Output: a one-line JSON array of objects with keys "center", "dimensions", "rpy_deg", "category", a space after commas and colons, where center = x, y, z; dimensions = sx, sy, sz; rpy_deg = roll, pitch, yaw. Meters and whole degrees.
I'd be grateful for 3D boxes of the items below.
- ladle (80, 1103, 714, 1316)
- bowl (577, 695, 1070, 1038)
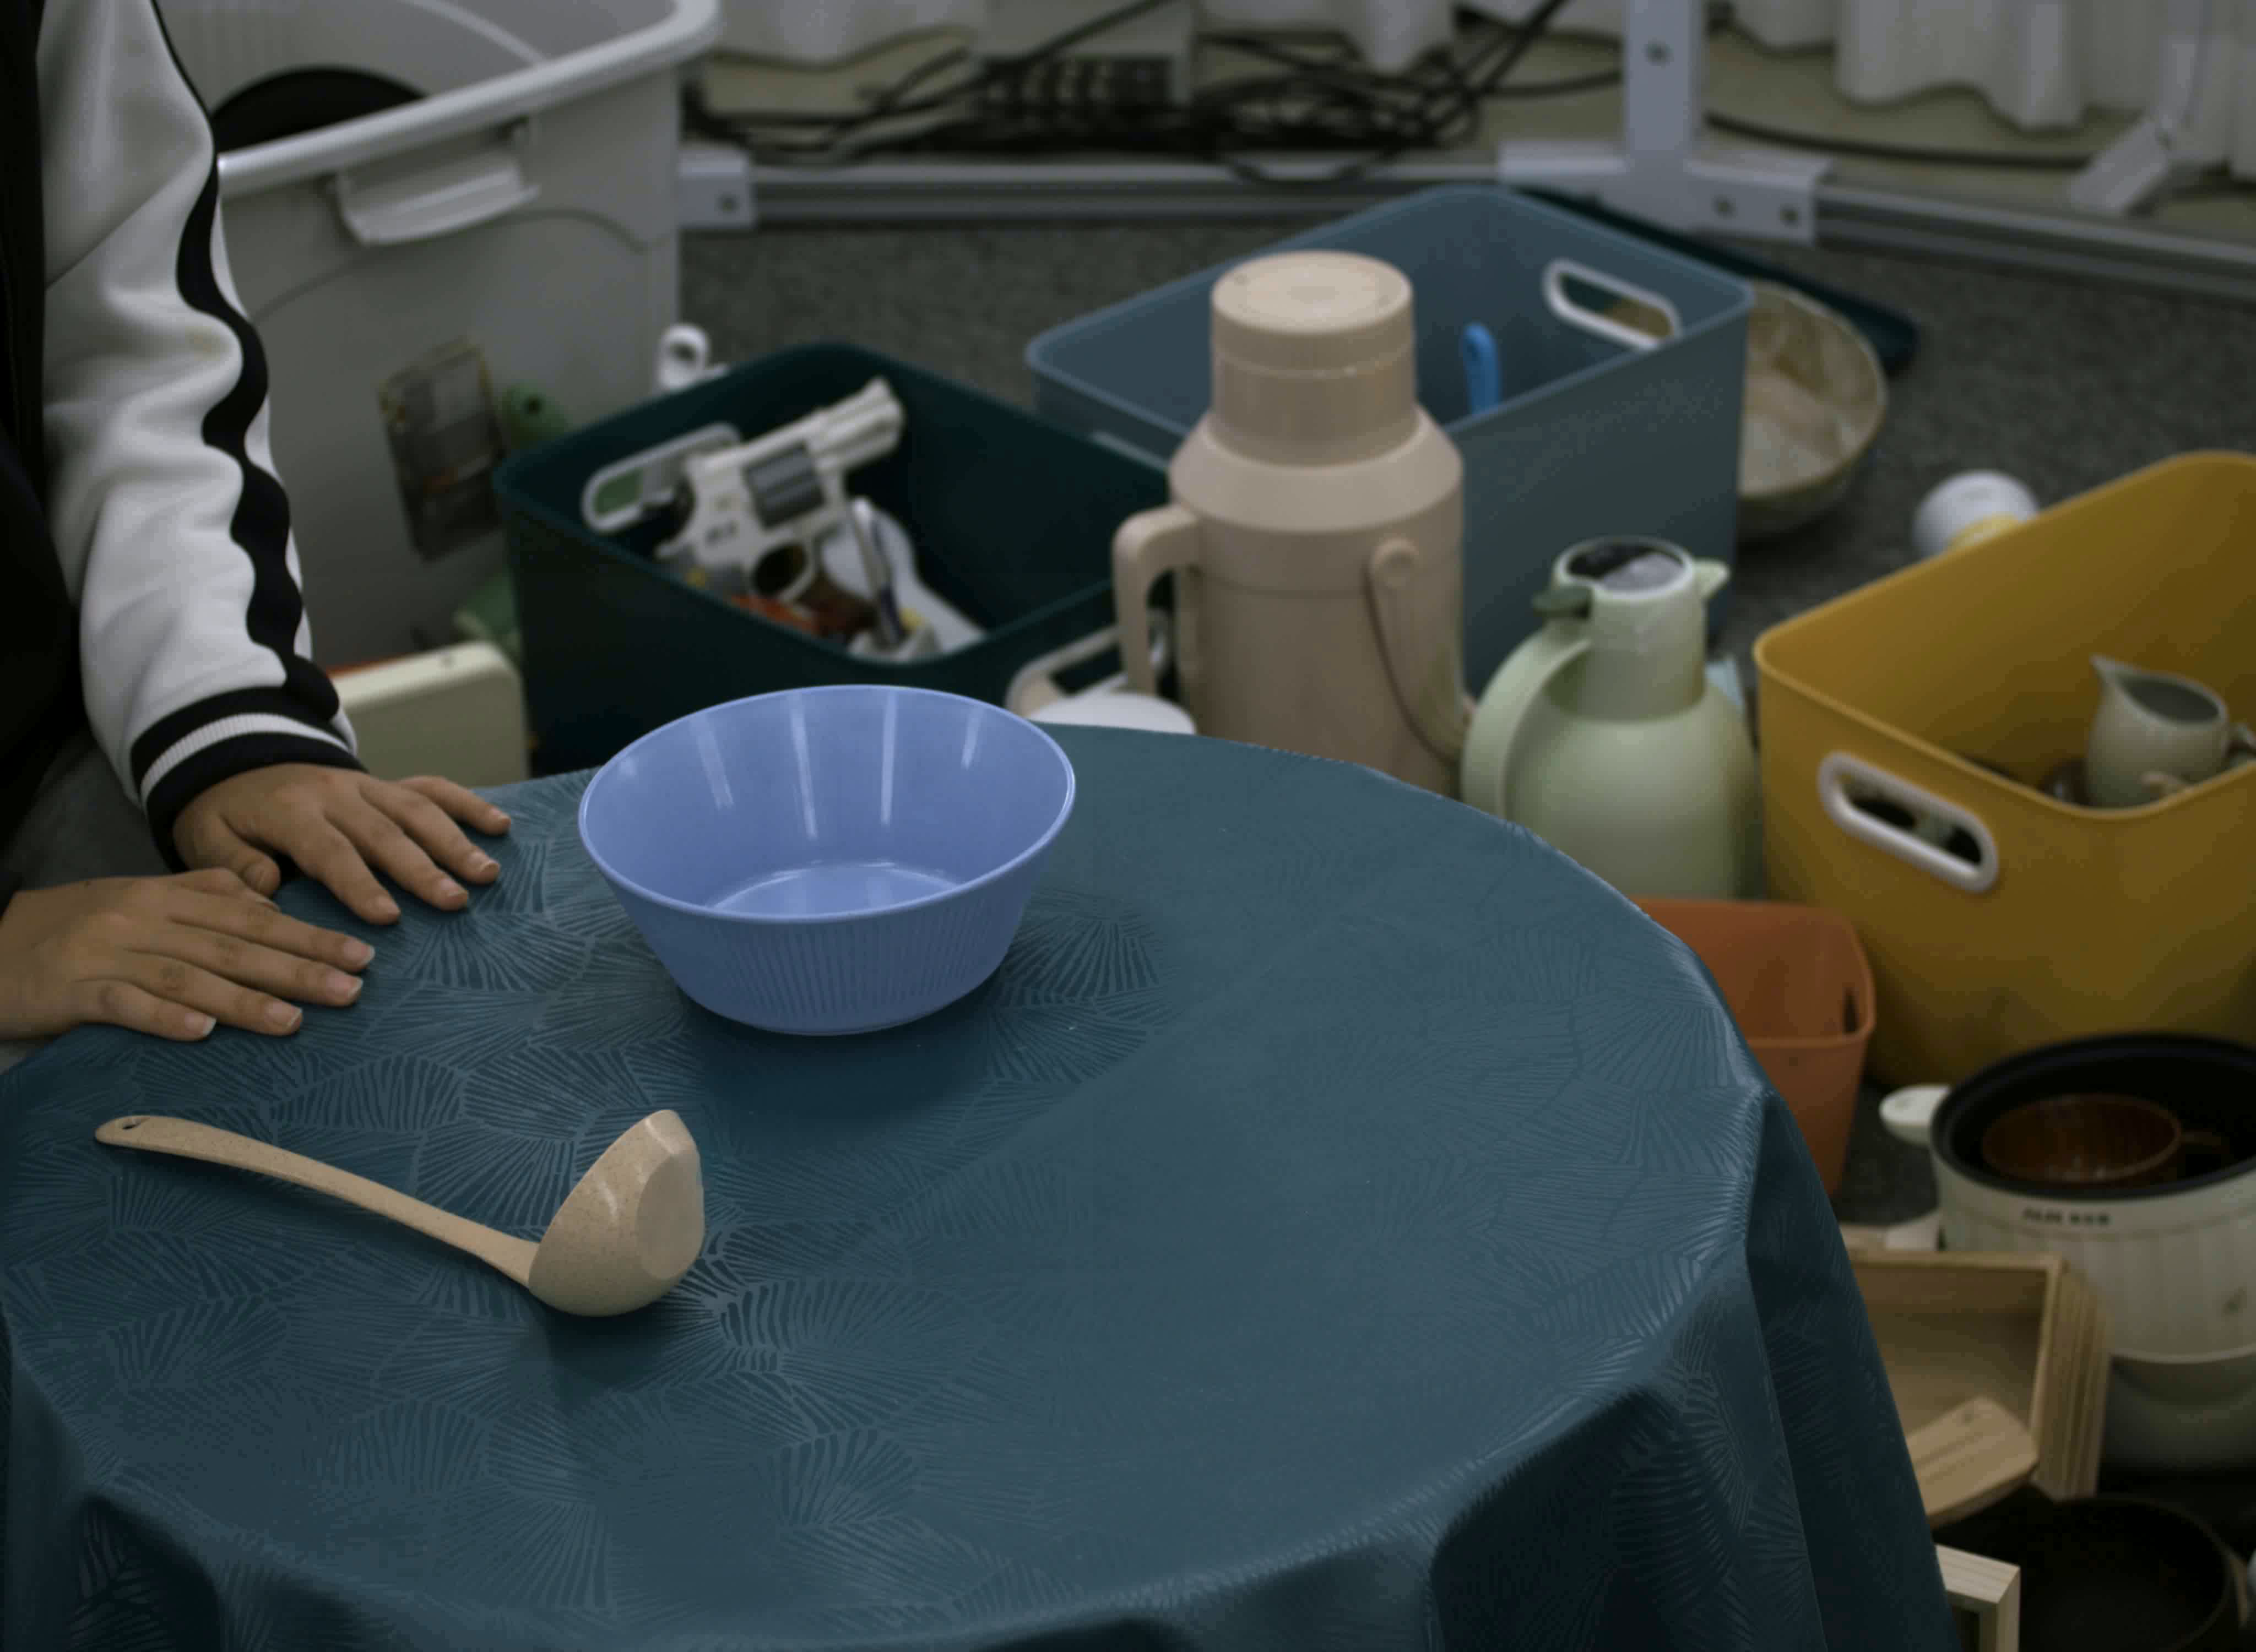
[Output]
[{"center": [-0.249, 0.102, 1.845], "dimensions": [0.253, 0.072, 0.073], "rpy_deg": [13, 30, 28], "category": "ladle"}, {"center": [-0.106, 0.020, 1.994], "dimensions": [0.175, 0.069, 0.178], "rpy_deg": [-2, 26, 1], "category": "bowl"}]
